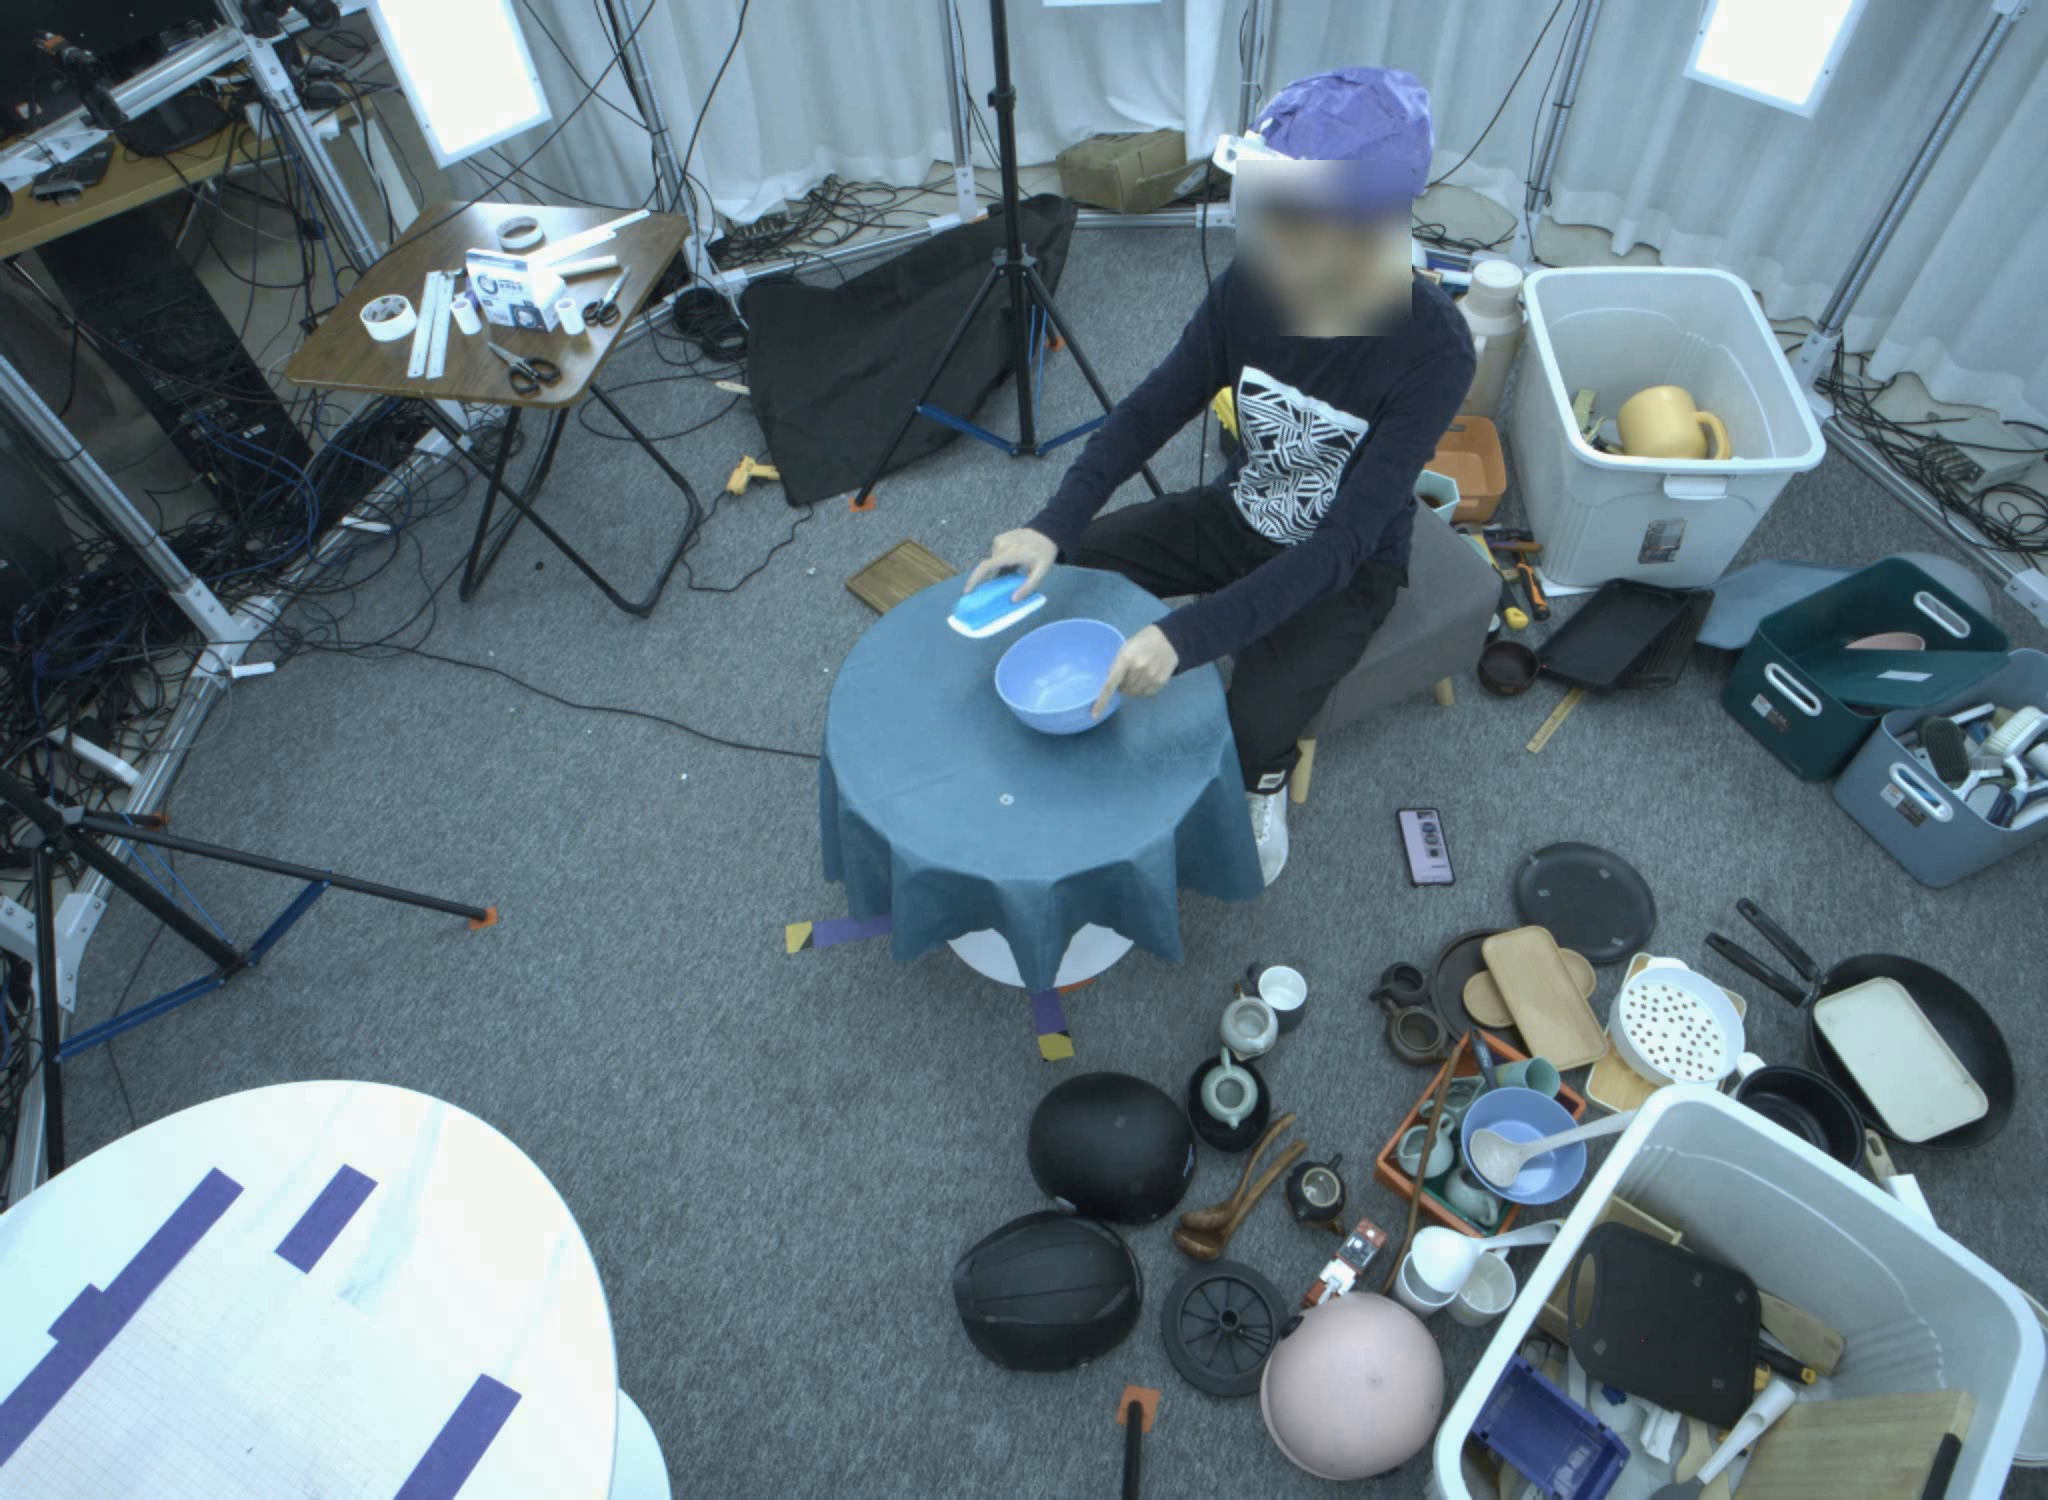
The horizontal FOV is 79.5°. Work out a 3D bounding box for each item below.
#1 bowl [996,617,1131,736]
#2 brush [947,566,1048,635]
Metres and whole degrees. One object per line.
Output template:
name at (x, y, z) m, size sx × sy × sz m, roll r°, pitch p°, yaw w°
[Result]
bowl at (0.066, -0.090, 1.771) m, size 0.195 × 0.097 × 0.194 m, roll -9°, pitch 47°, yaw 11°
brush at (-0.040, -0.223, 1.786) m, size 0.145 × 0.056 × 0.082 m, roll -32°, pitch 46°, yaw -24°
